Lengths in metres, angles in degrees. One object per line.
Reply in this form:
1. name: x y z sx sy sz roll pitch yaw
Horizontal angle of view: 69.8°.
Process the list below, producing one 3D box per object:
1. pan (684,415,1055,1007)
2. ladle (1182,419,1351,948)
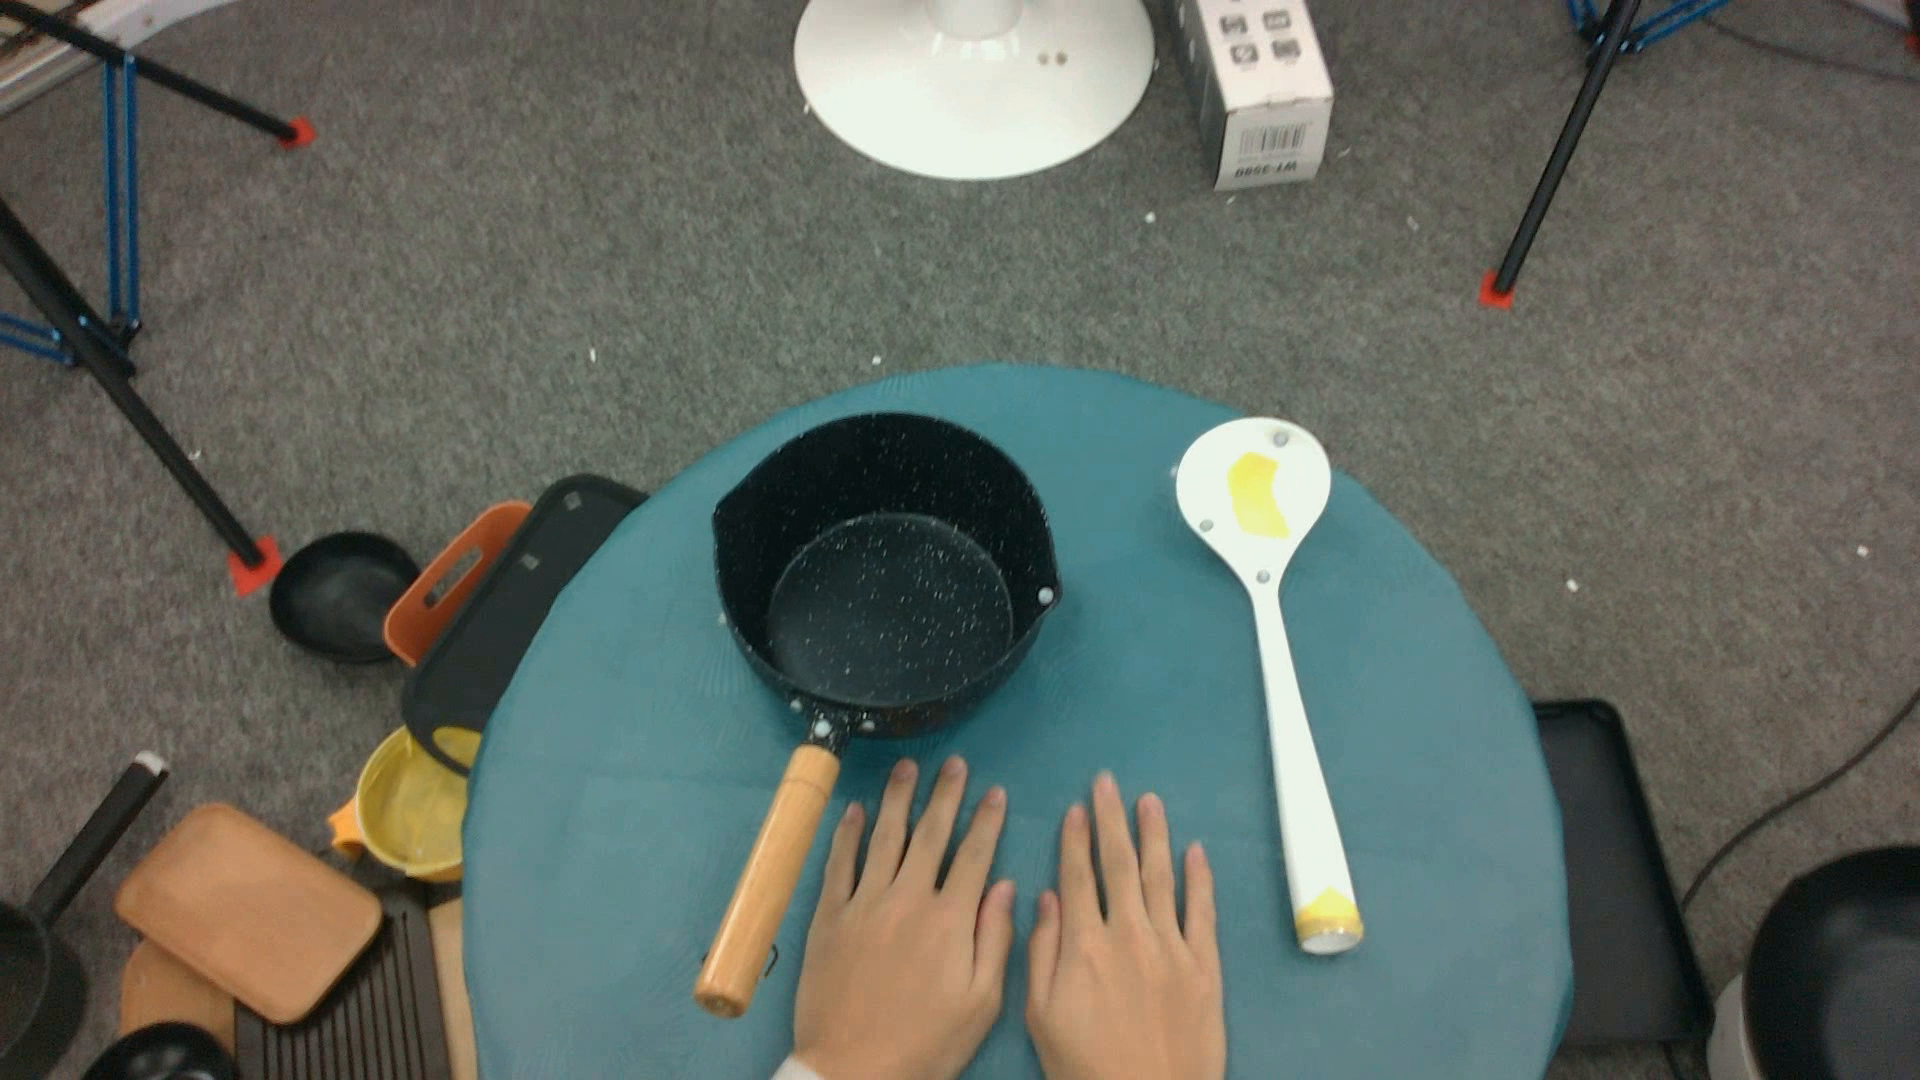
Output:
1. pan: -0.066 0.088 0.731 0.207 0.108 0.344 12 58 6
2. ladle: 0.181 0.071 0.770 0.090 0.069 0.294 -2 60 1
